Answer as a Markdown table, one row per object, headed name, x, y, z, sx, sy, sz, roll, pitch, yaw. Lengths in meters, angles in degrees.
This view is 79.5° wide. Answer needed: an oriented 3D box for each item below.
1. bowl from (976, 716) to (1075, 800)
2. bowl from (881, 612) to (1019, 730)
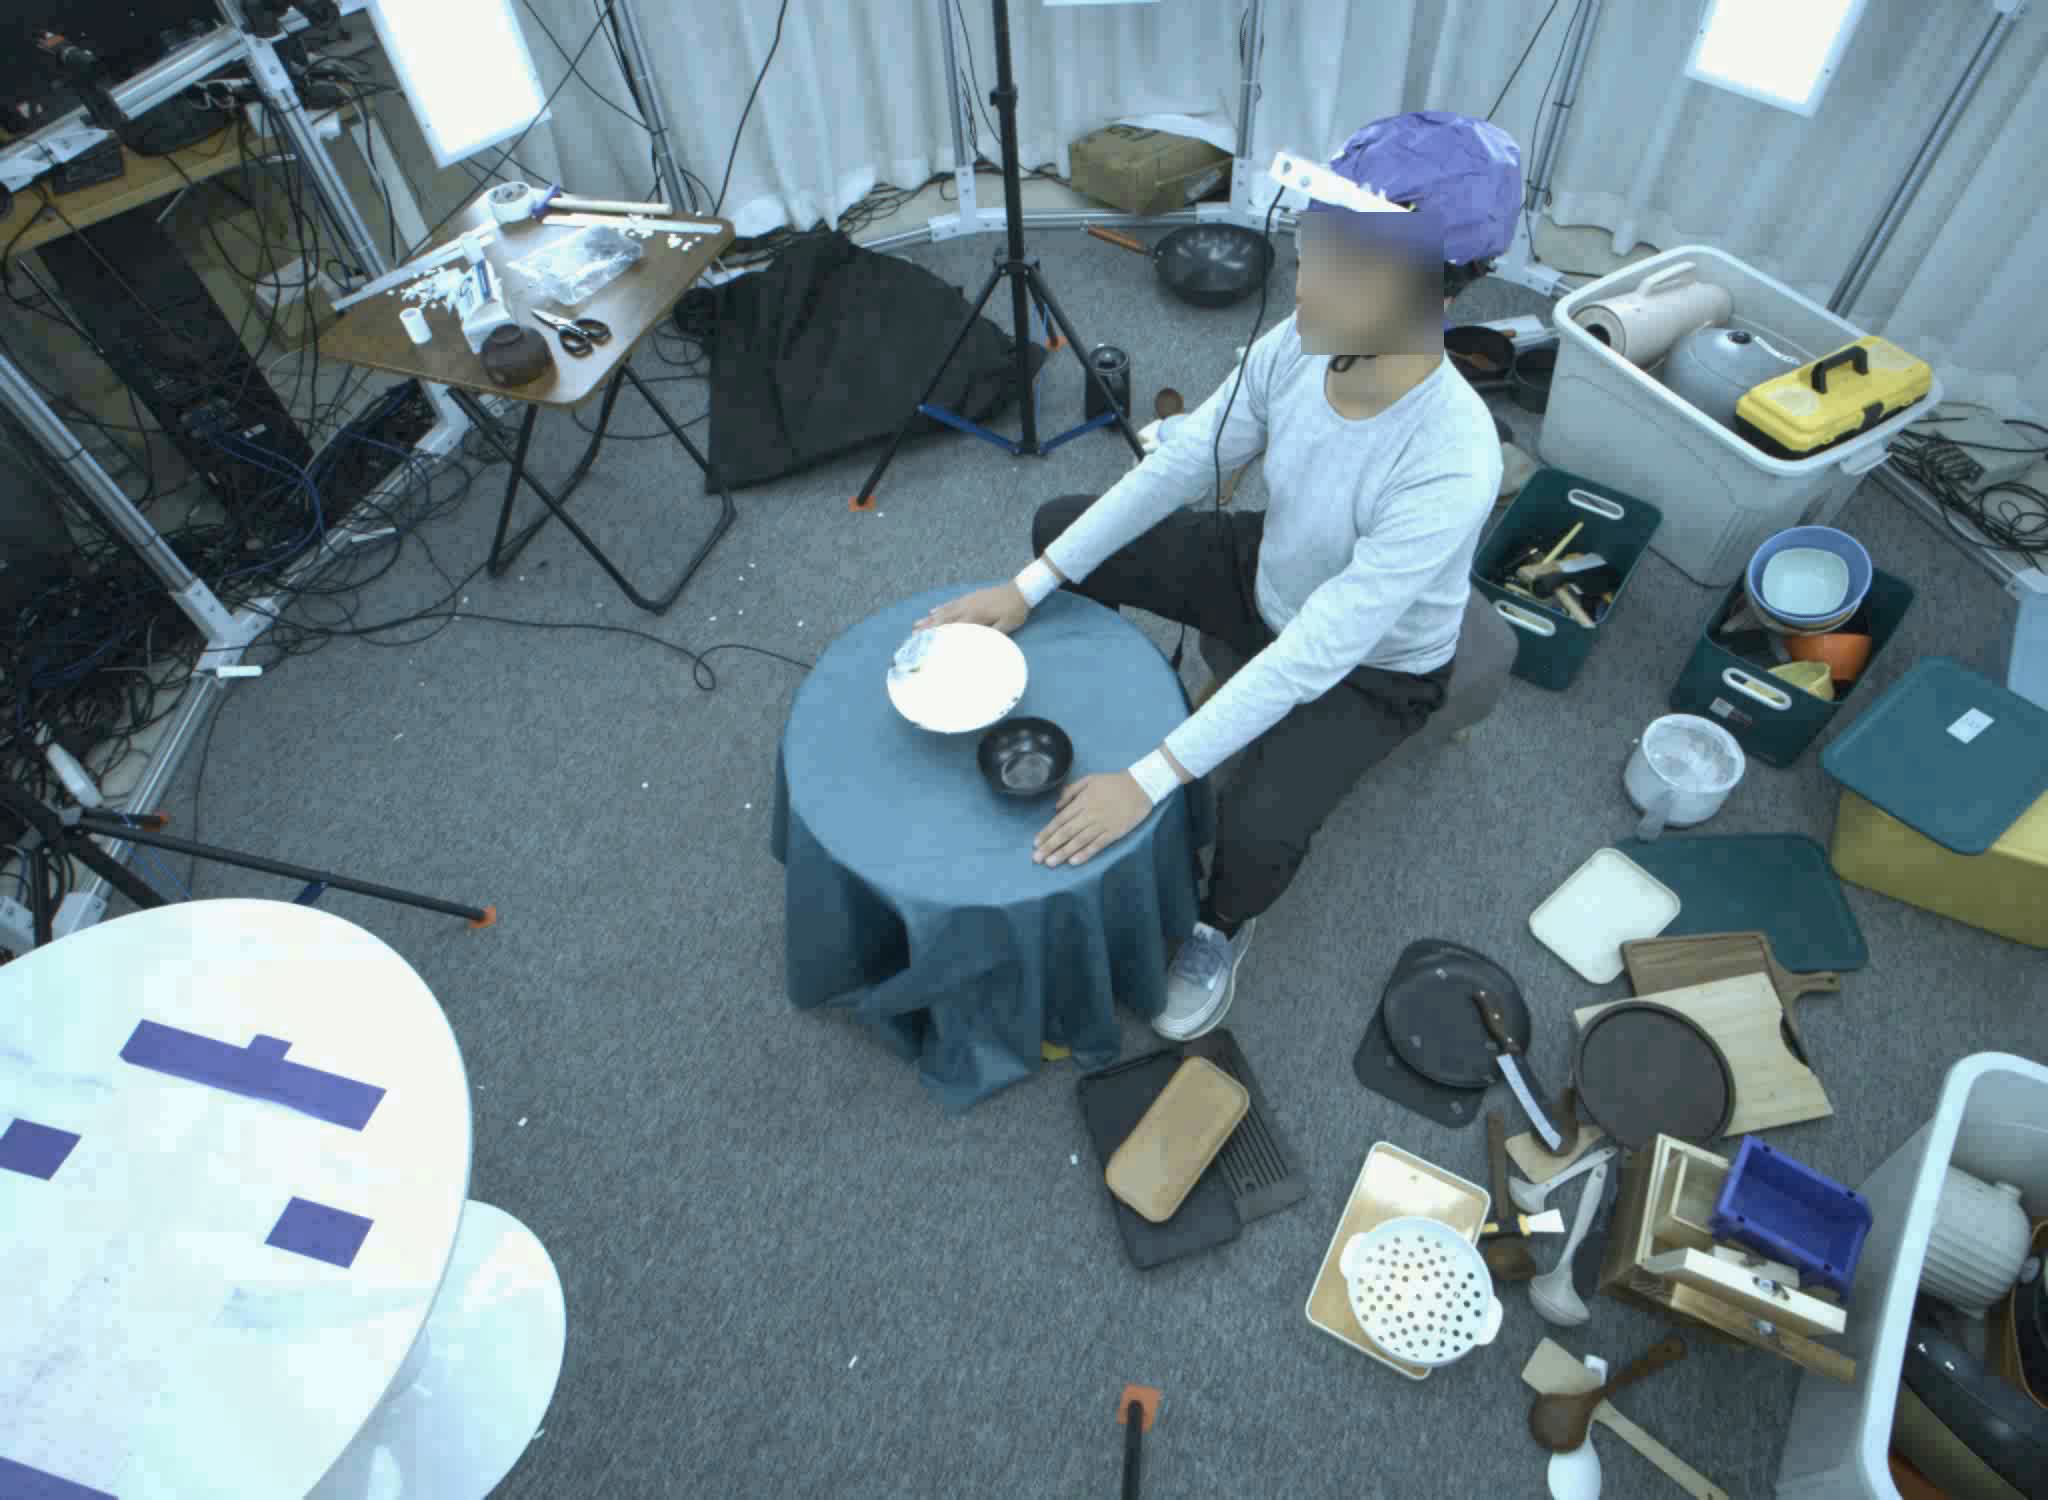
| name | x | y | z | sx | sy | sz | roll | pitch | yaw |
| --- | --- | --- | --- | --- | --- | --- | --- | --- | --- |
| bowl | 0.002 | 0.020 | 1.754 | 0.140 | 0.050 | 0.138 | 3 | 54 | -3 |
| bowl | -0.104 | -0.099 | 1.806 | 0.203 | 0.079 | 0.202 | -3 | 60 | 6 |
